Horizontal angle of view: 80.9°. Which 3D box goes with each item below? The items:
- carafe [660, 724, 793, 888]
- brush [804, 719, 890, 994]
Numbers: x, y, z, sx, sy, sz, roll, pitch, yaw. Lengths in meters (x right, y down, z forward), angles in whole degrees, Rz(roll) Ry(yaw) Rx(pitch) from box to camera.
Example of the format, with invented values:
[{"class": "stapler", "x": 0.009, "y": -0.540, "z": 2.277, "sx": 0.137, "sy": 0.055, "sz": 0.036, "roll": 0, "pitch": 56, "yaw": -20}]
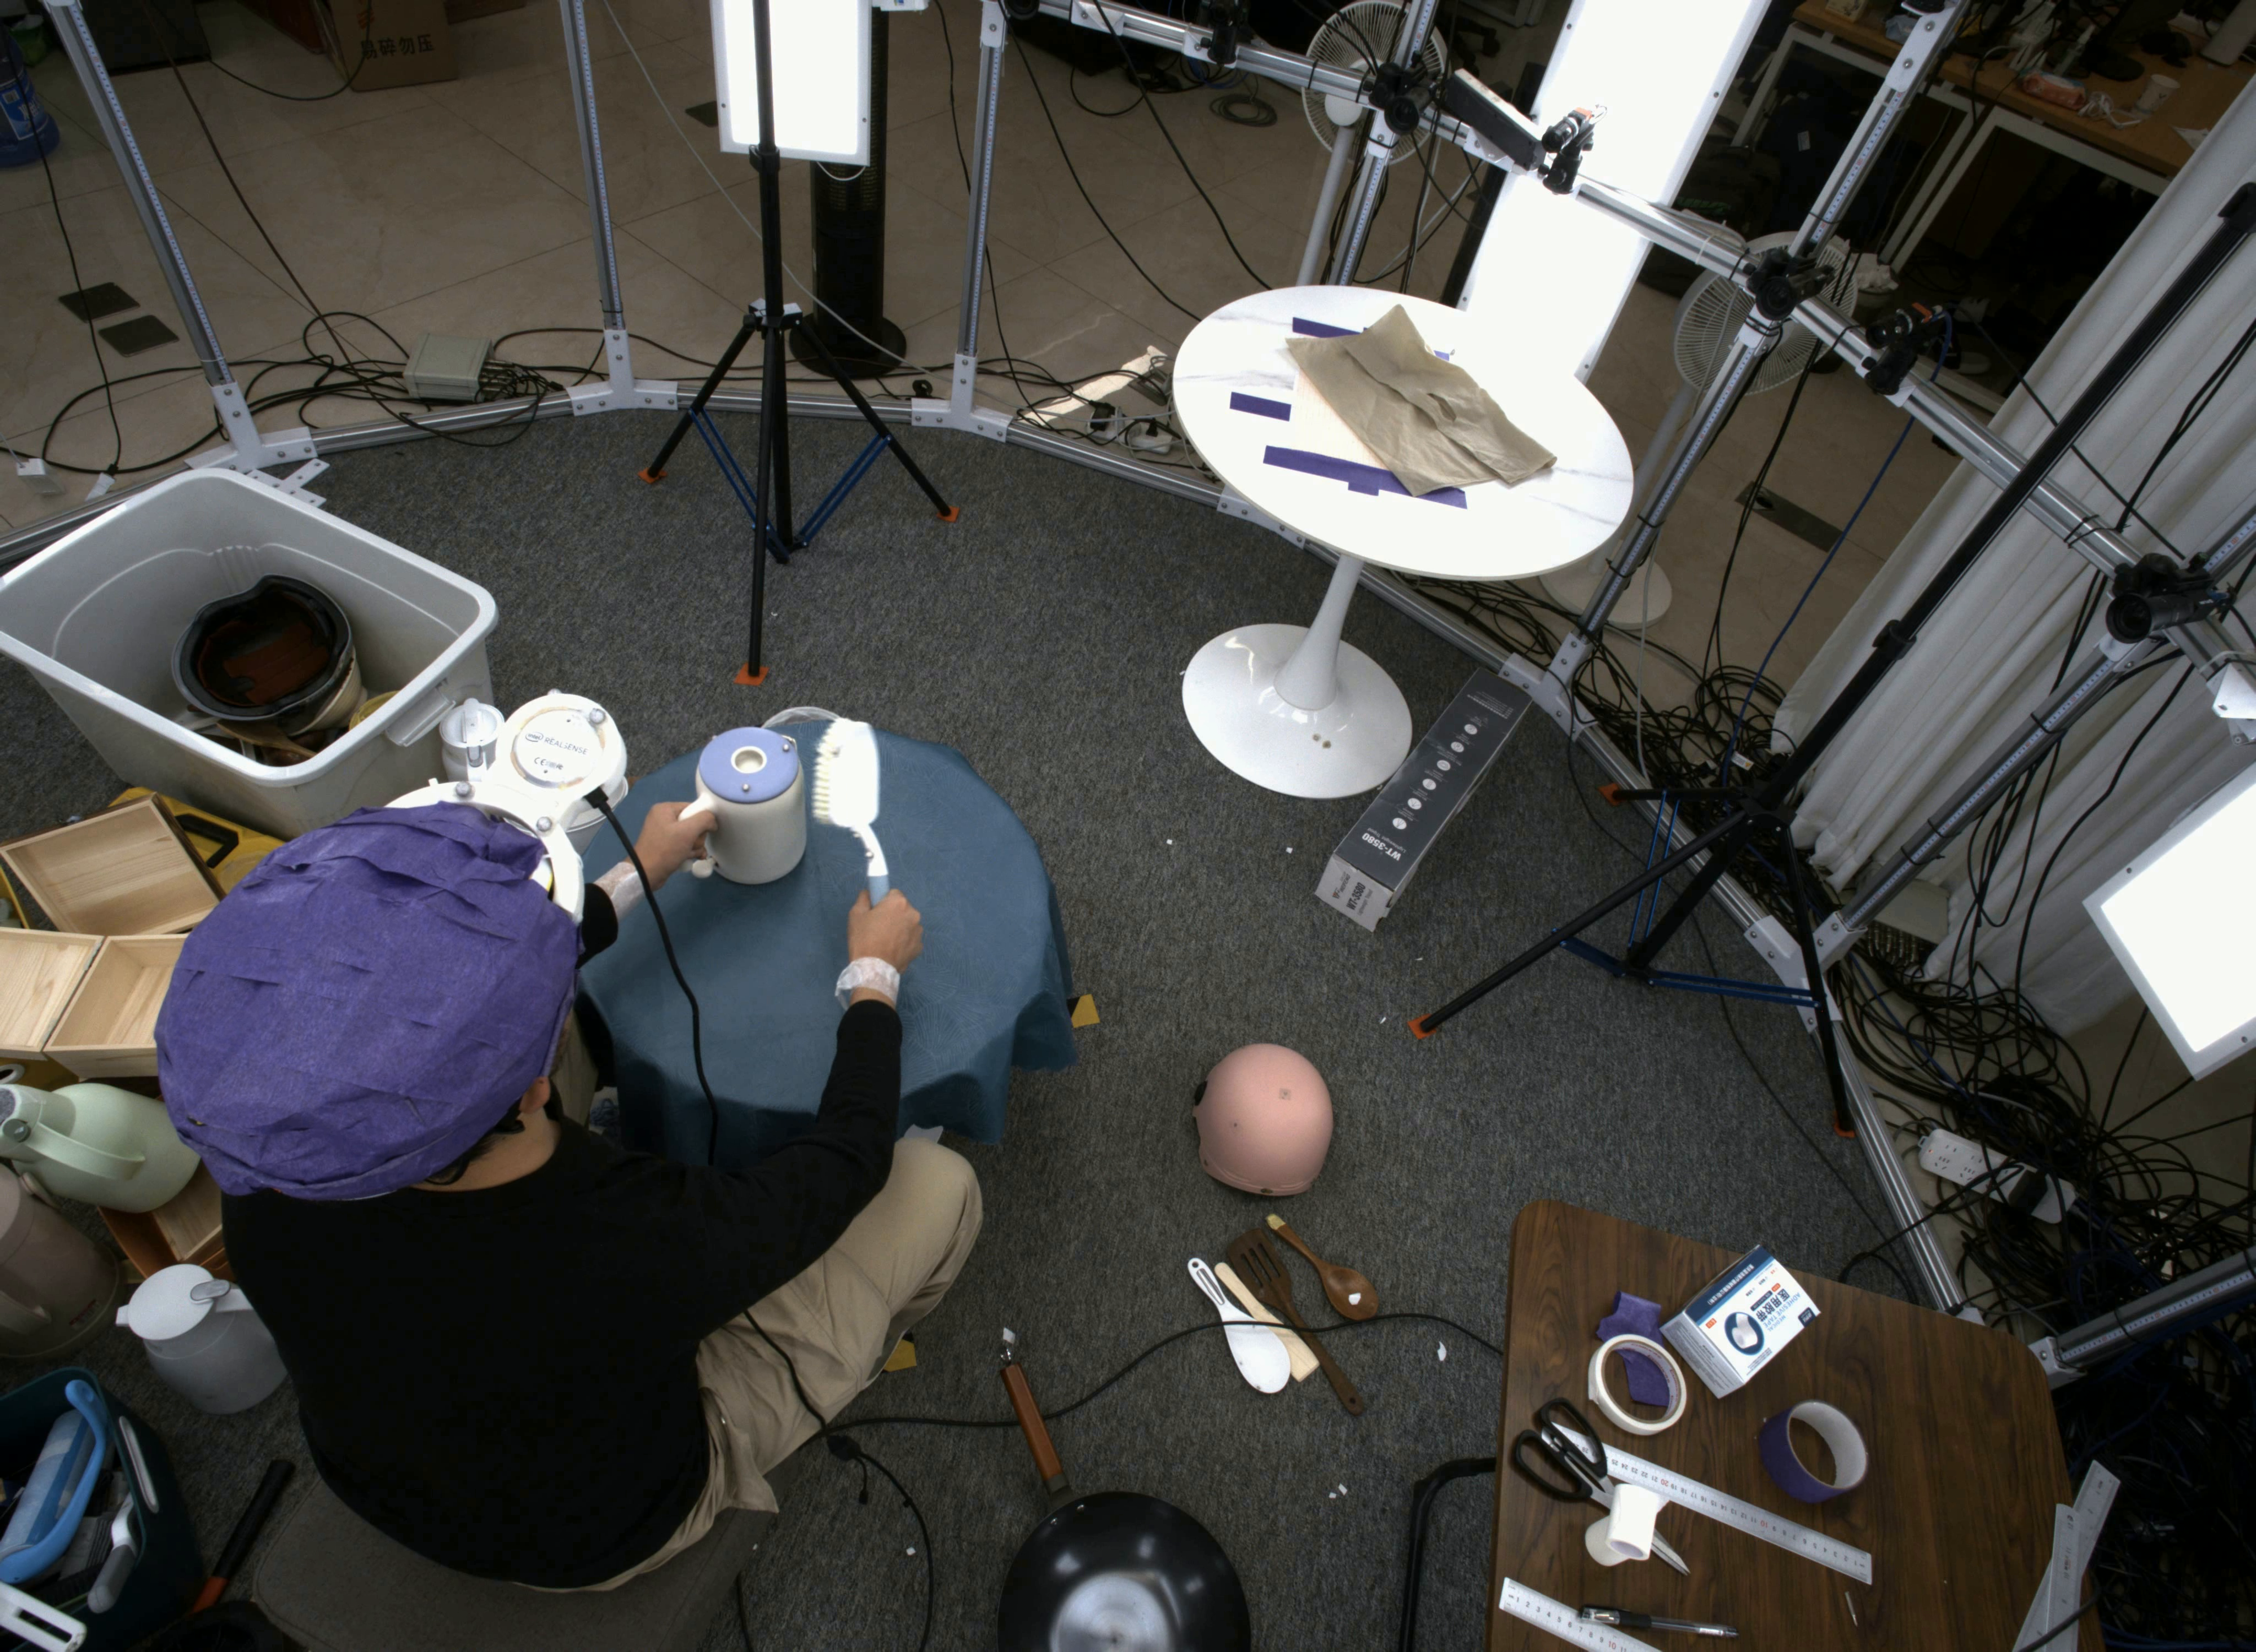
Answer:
[{"class": "carafe", "x": -0.503, "y": -0.012, "z": 1.596, "sx": 0.129, "sy": 0.186, "sz": 0.191, "roll": 35, "pitch": 54, "yaw": 16}, {"class": "brush", "x": -0.341, "y": 0.037, "z": 1.558, "sx": 0.083, "sy": 0.083, "sz": 0.331, "roll": -6, "pitch": 95, "yaw": -11}]
